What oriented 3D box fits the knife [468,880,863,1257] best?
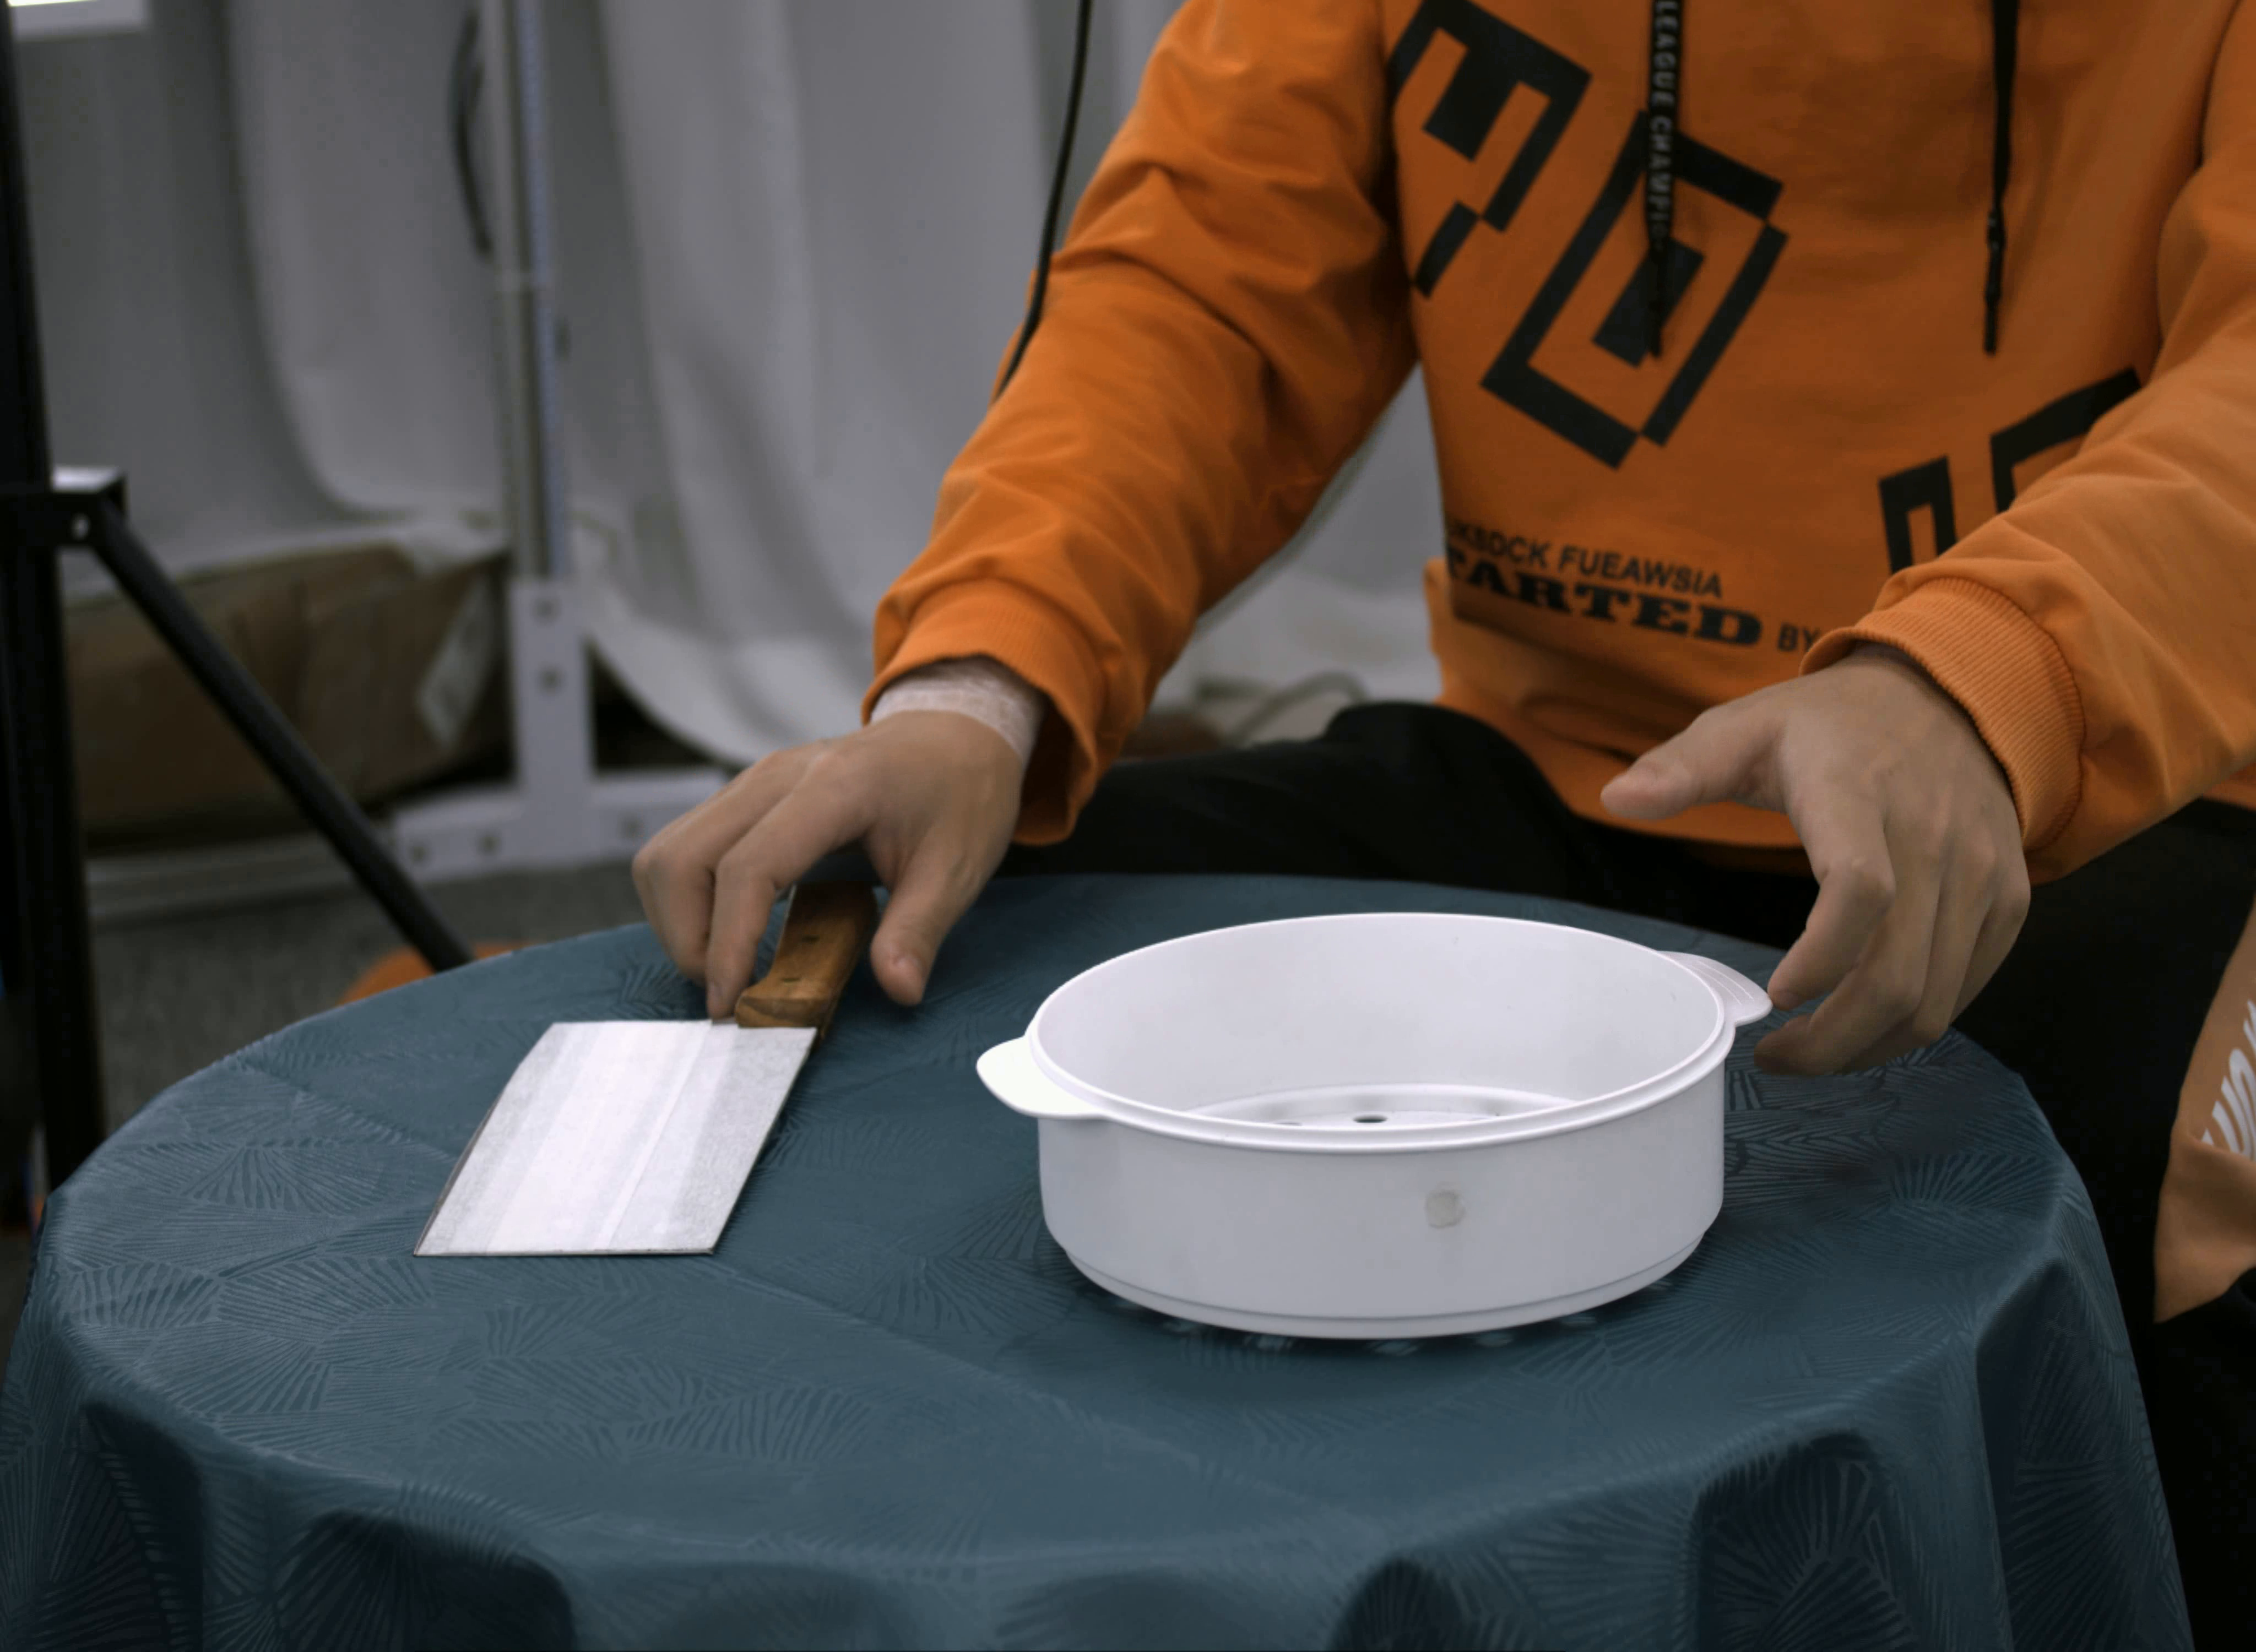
[{"bbox_3d":[-0.144,0.075,1.672,0.093,0.021,0.305,-2,18,8],"label":"knife"}]

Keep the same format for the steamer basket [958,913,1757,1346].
[{"bbox_3d":[0.067,0.086,1.499,0.227,0.069,0.205,-9,16,-15],"label":"steamer basket"}]
